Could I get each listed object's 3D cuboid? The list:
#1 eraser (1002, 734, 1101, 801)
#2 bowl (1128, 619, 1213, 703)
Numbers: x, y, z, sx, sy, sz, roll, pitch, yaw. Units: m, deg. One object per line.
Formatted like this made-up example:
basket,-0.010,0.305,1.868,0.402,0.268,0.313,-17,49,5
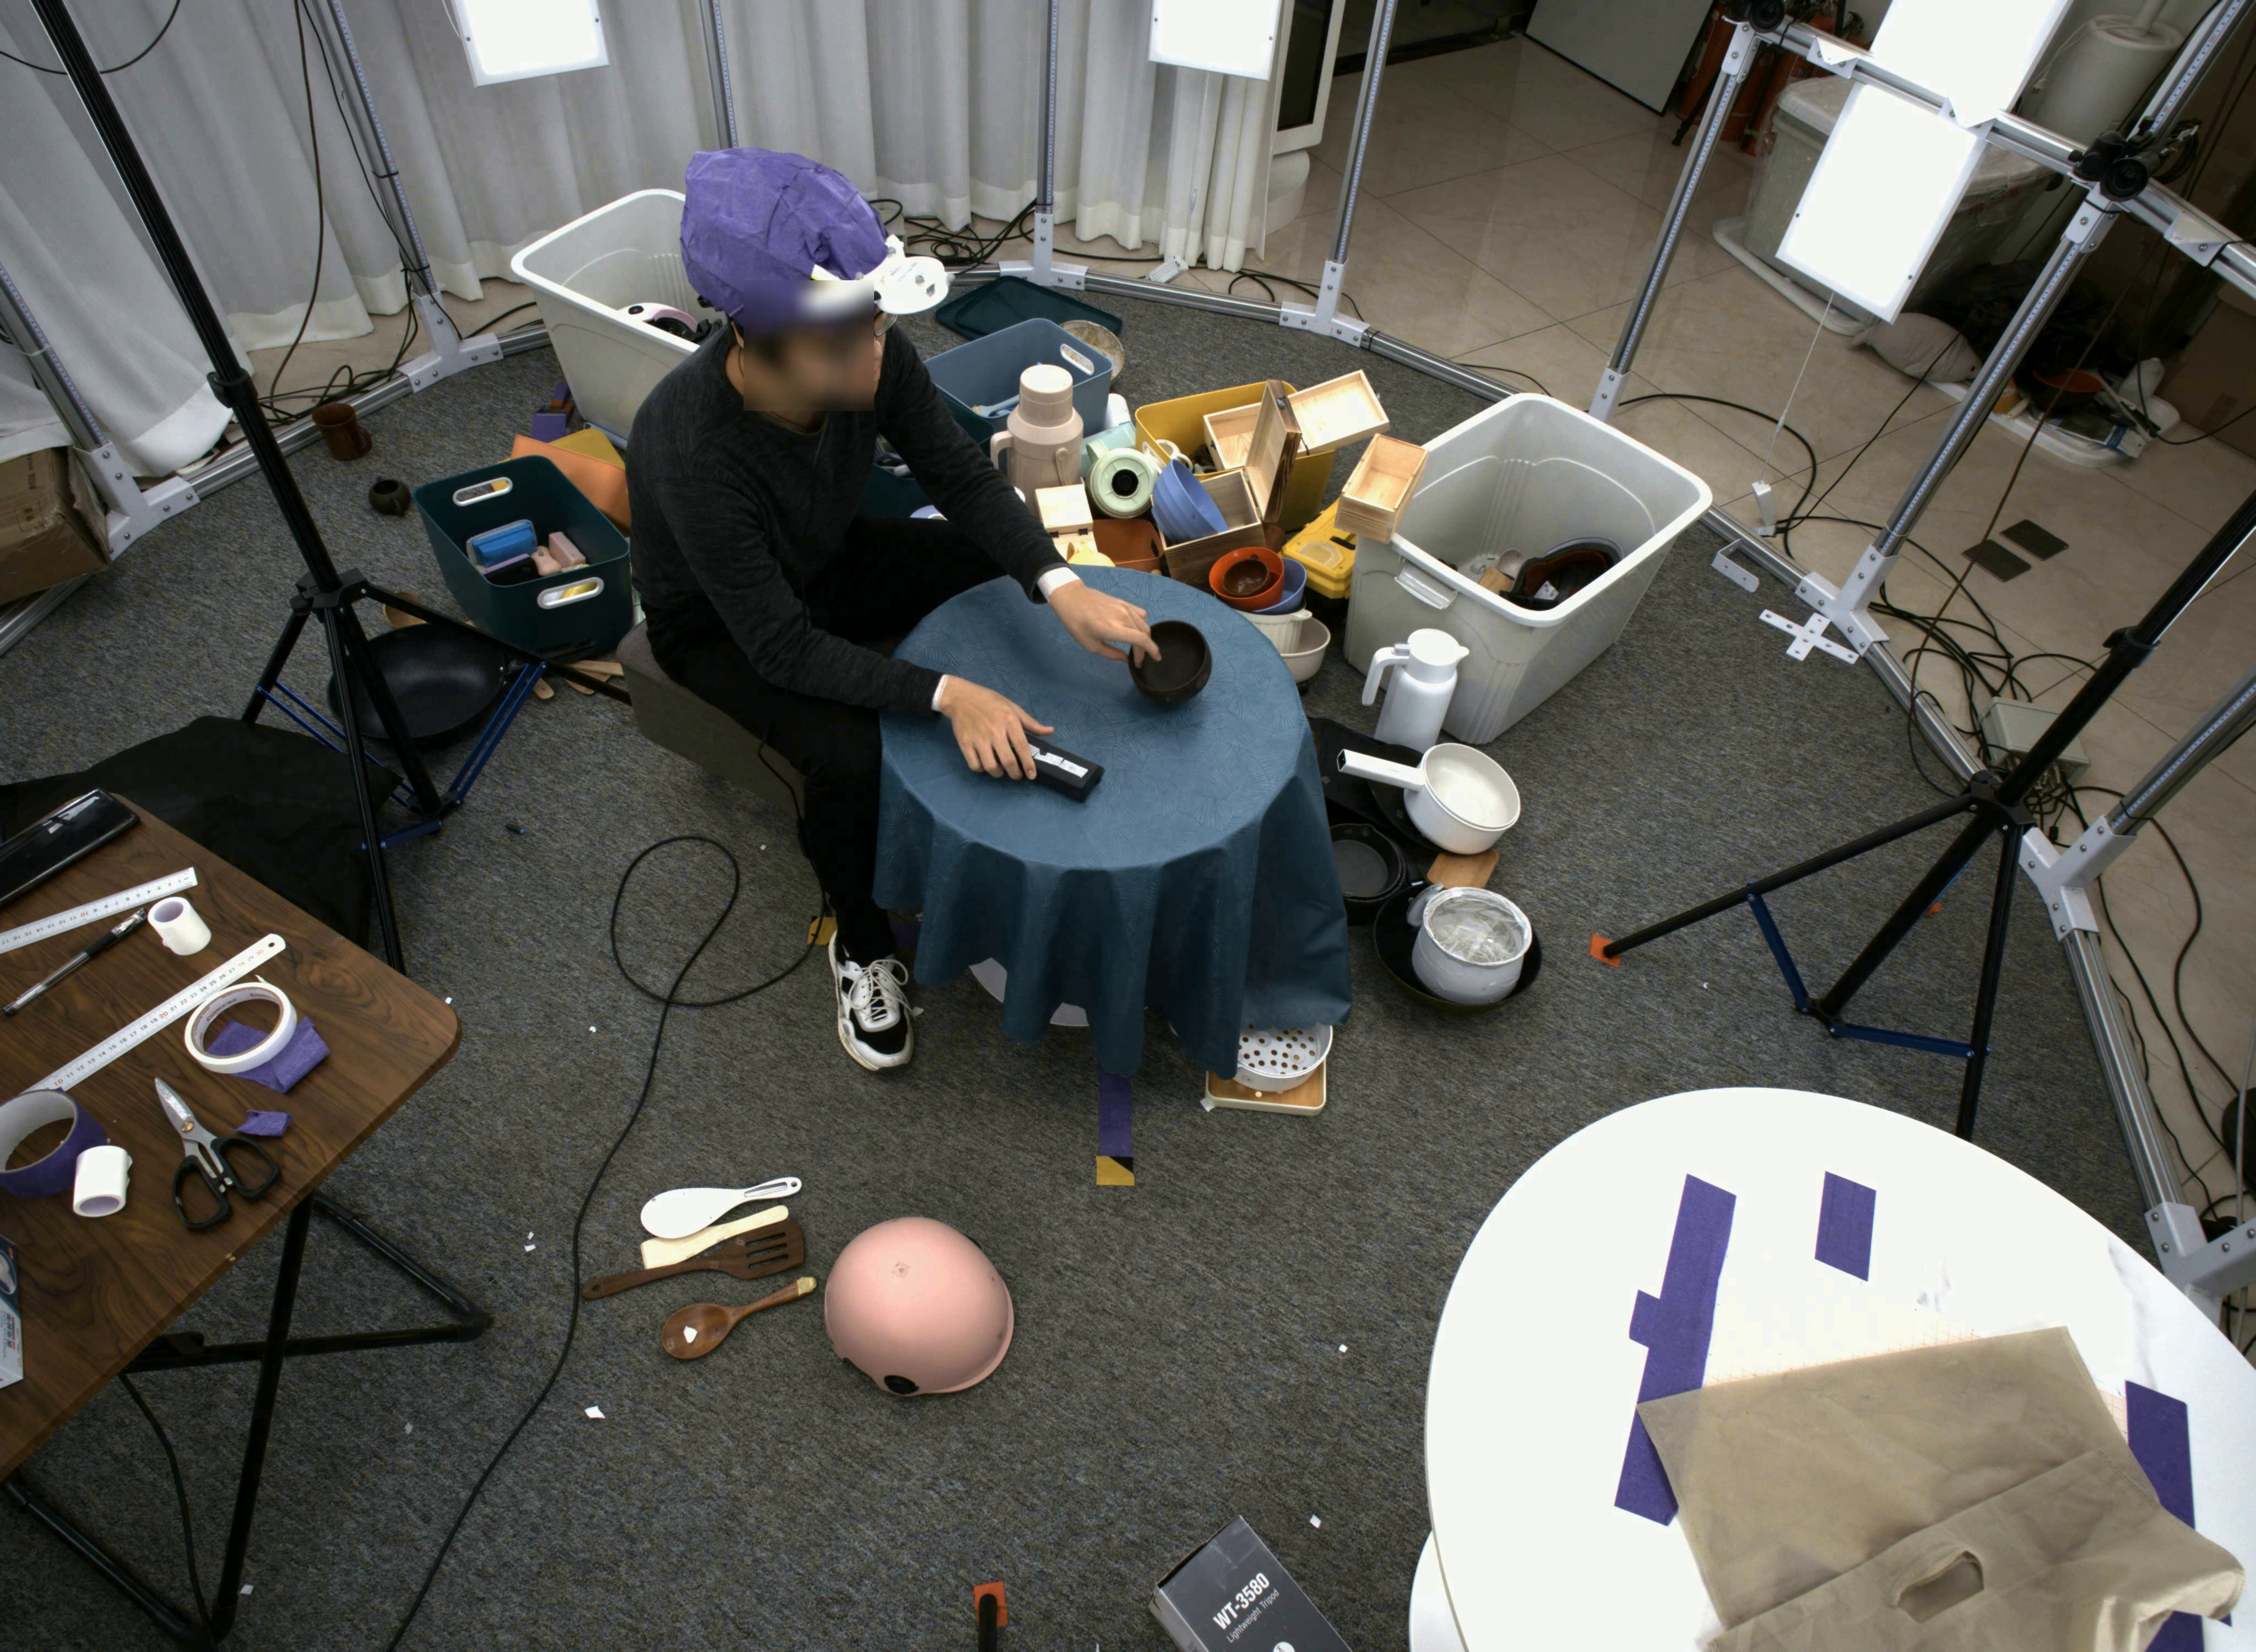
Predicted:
eraser,-0.102,-0.079,1.713,0.126,0.030,0.054,23,49,16
bowl,0.063,-0.227,1.816,0.118,0.068,0.120,-6,63,11
